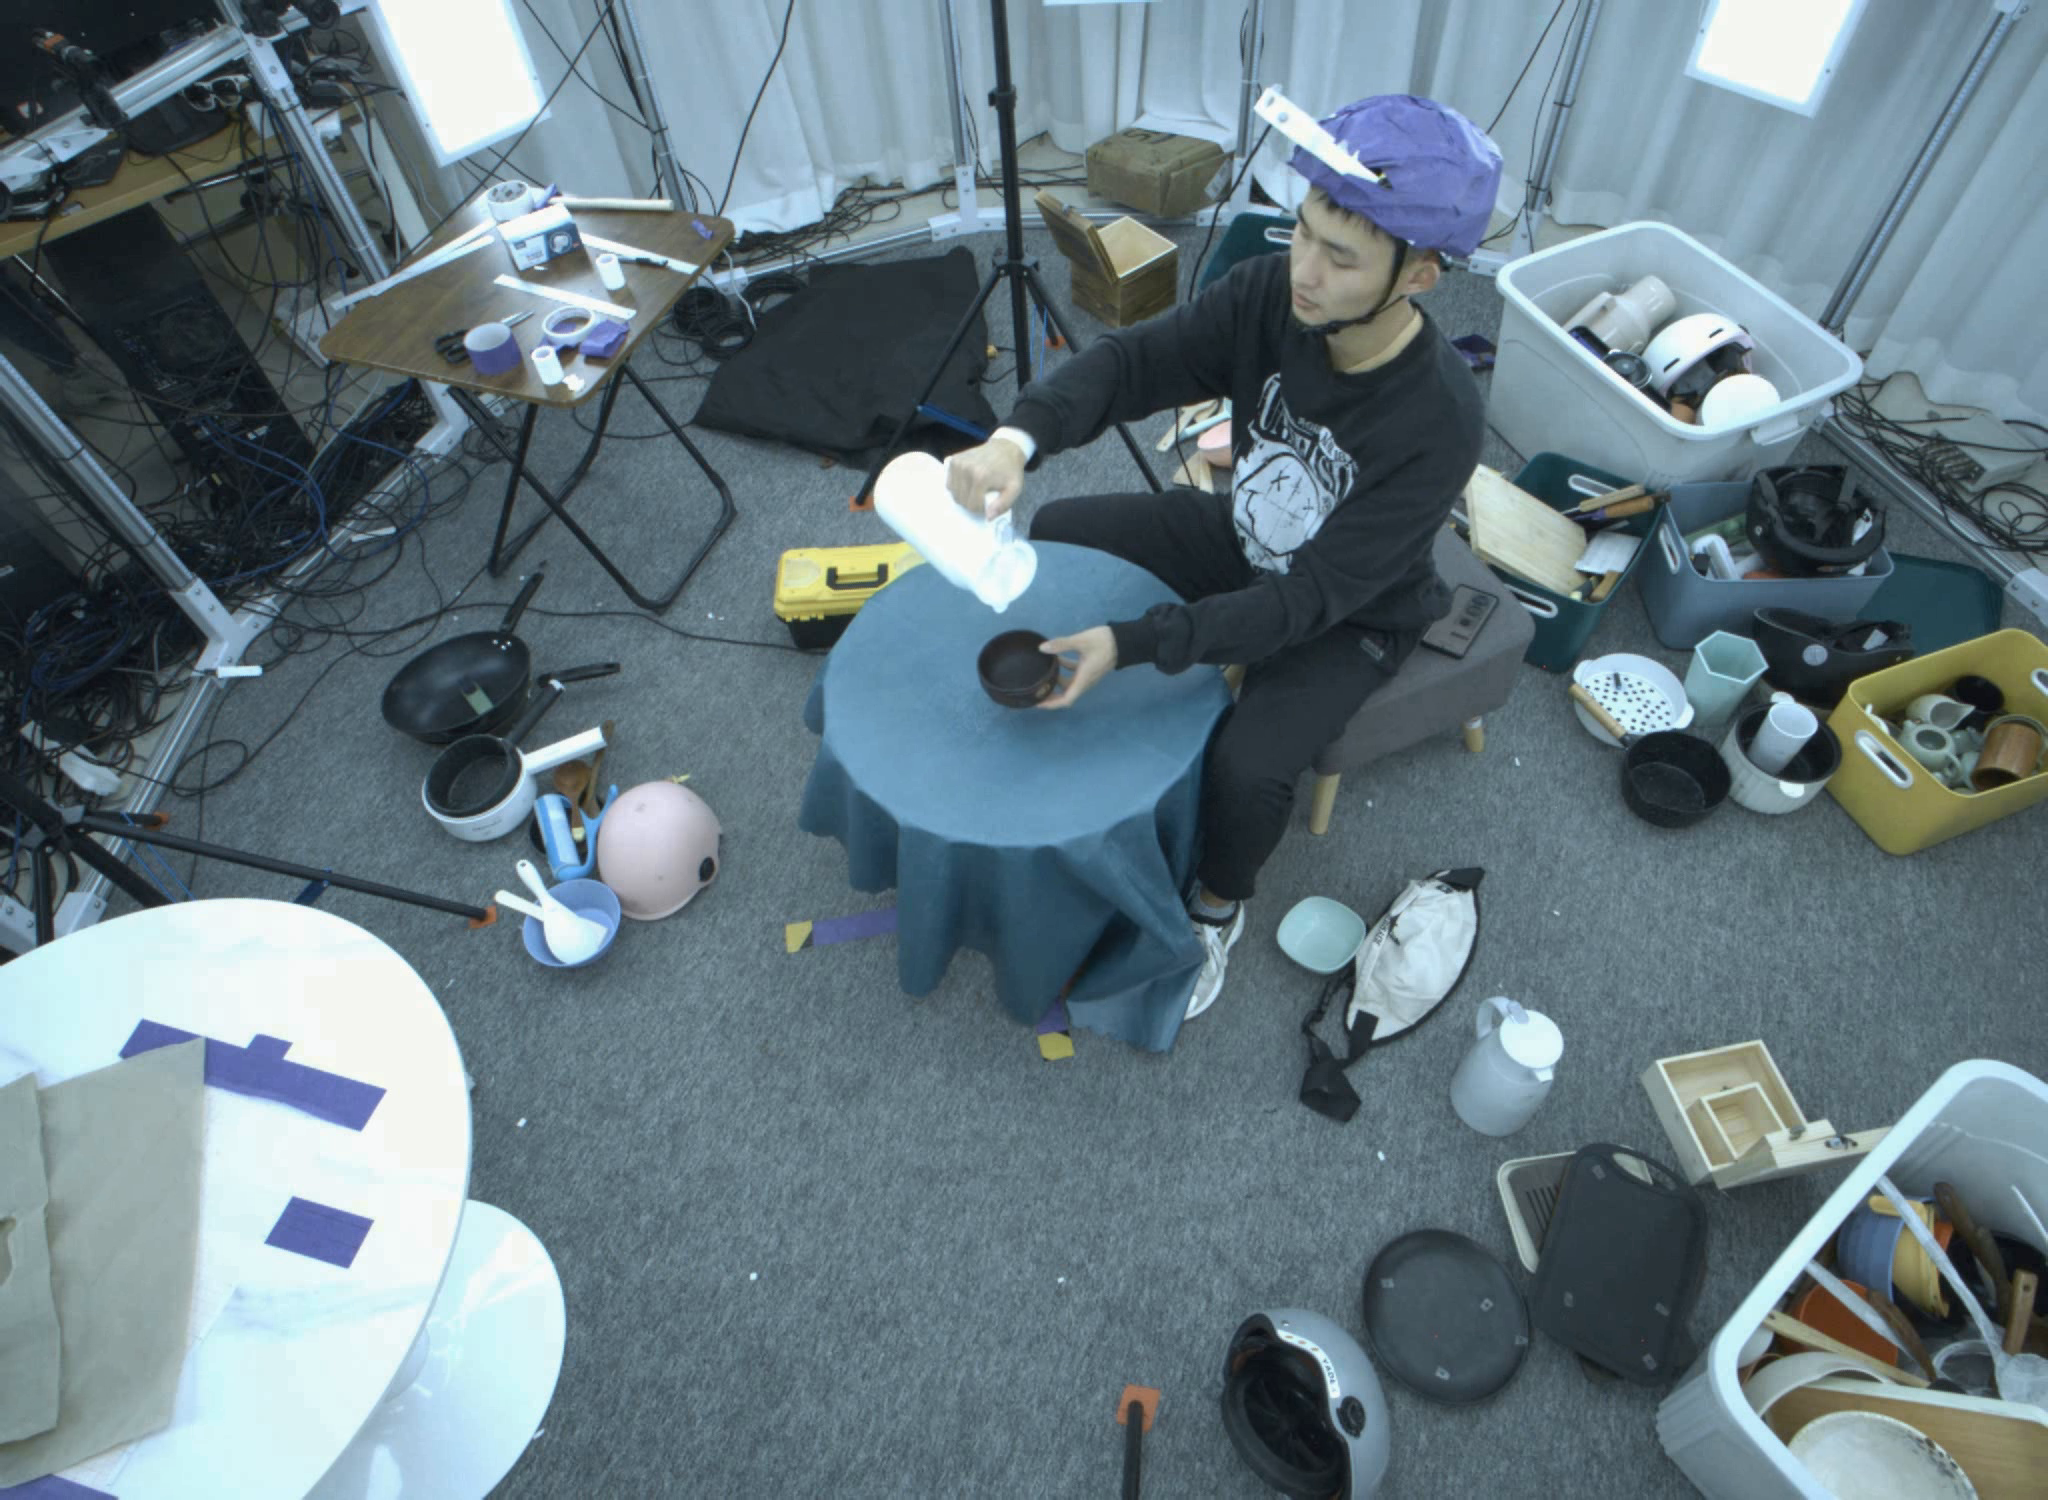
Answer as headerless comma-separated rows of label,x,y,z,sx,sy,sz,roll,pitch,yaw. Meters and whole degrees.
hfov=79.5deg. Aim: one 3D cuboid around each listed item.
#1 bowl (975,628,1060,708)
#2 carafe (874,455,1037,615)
bowl,-0.007,-0.109,1.750,0.117,0.071,0.117,-4,54,6
carafe,-0.099,-0.319,1.682,0.125,0.174,0.263,-23,49,-25
